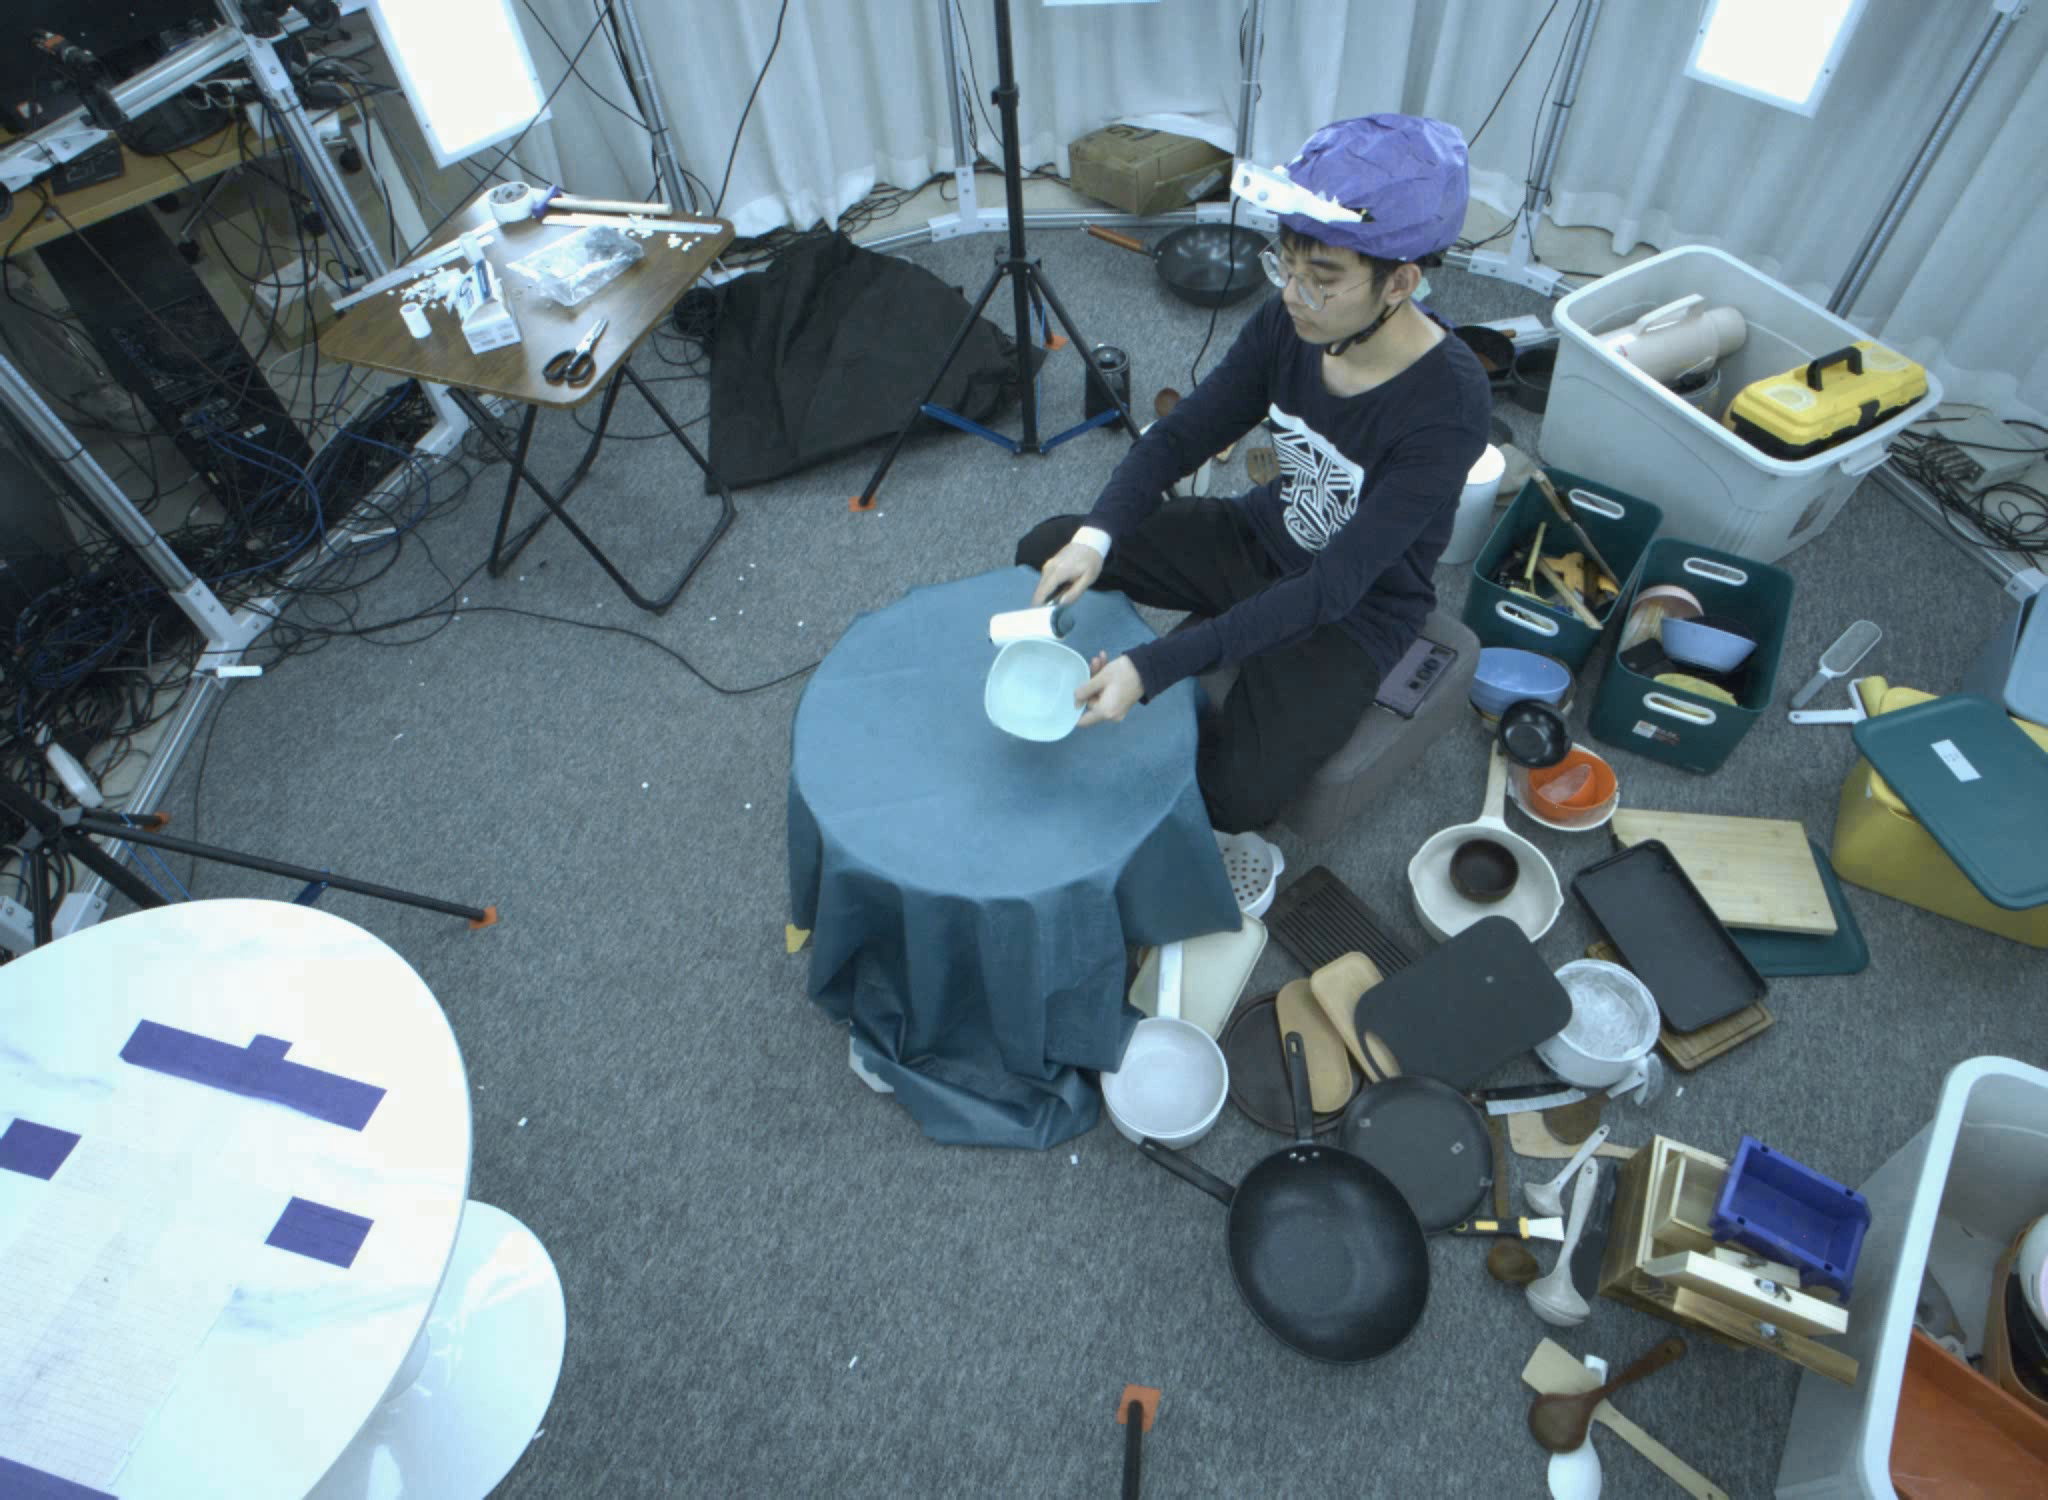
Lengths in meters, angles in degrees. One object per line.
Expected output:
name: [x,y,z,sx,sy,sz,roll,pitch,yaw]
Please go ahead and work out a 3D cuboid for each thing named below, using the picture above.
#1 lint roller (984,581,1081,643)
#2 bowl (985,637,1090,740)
lint roller: [0.033,-0.213,1.739,0.132,0.049,0.180,-3,34,31]
bowl: [0.019,-0.091,1.695,0.151,0.152,0.058,-1,19,2]
